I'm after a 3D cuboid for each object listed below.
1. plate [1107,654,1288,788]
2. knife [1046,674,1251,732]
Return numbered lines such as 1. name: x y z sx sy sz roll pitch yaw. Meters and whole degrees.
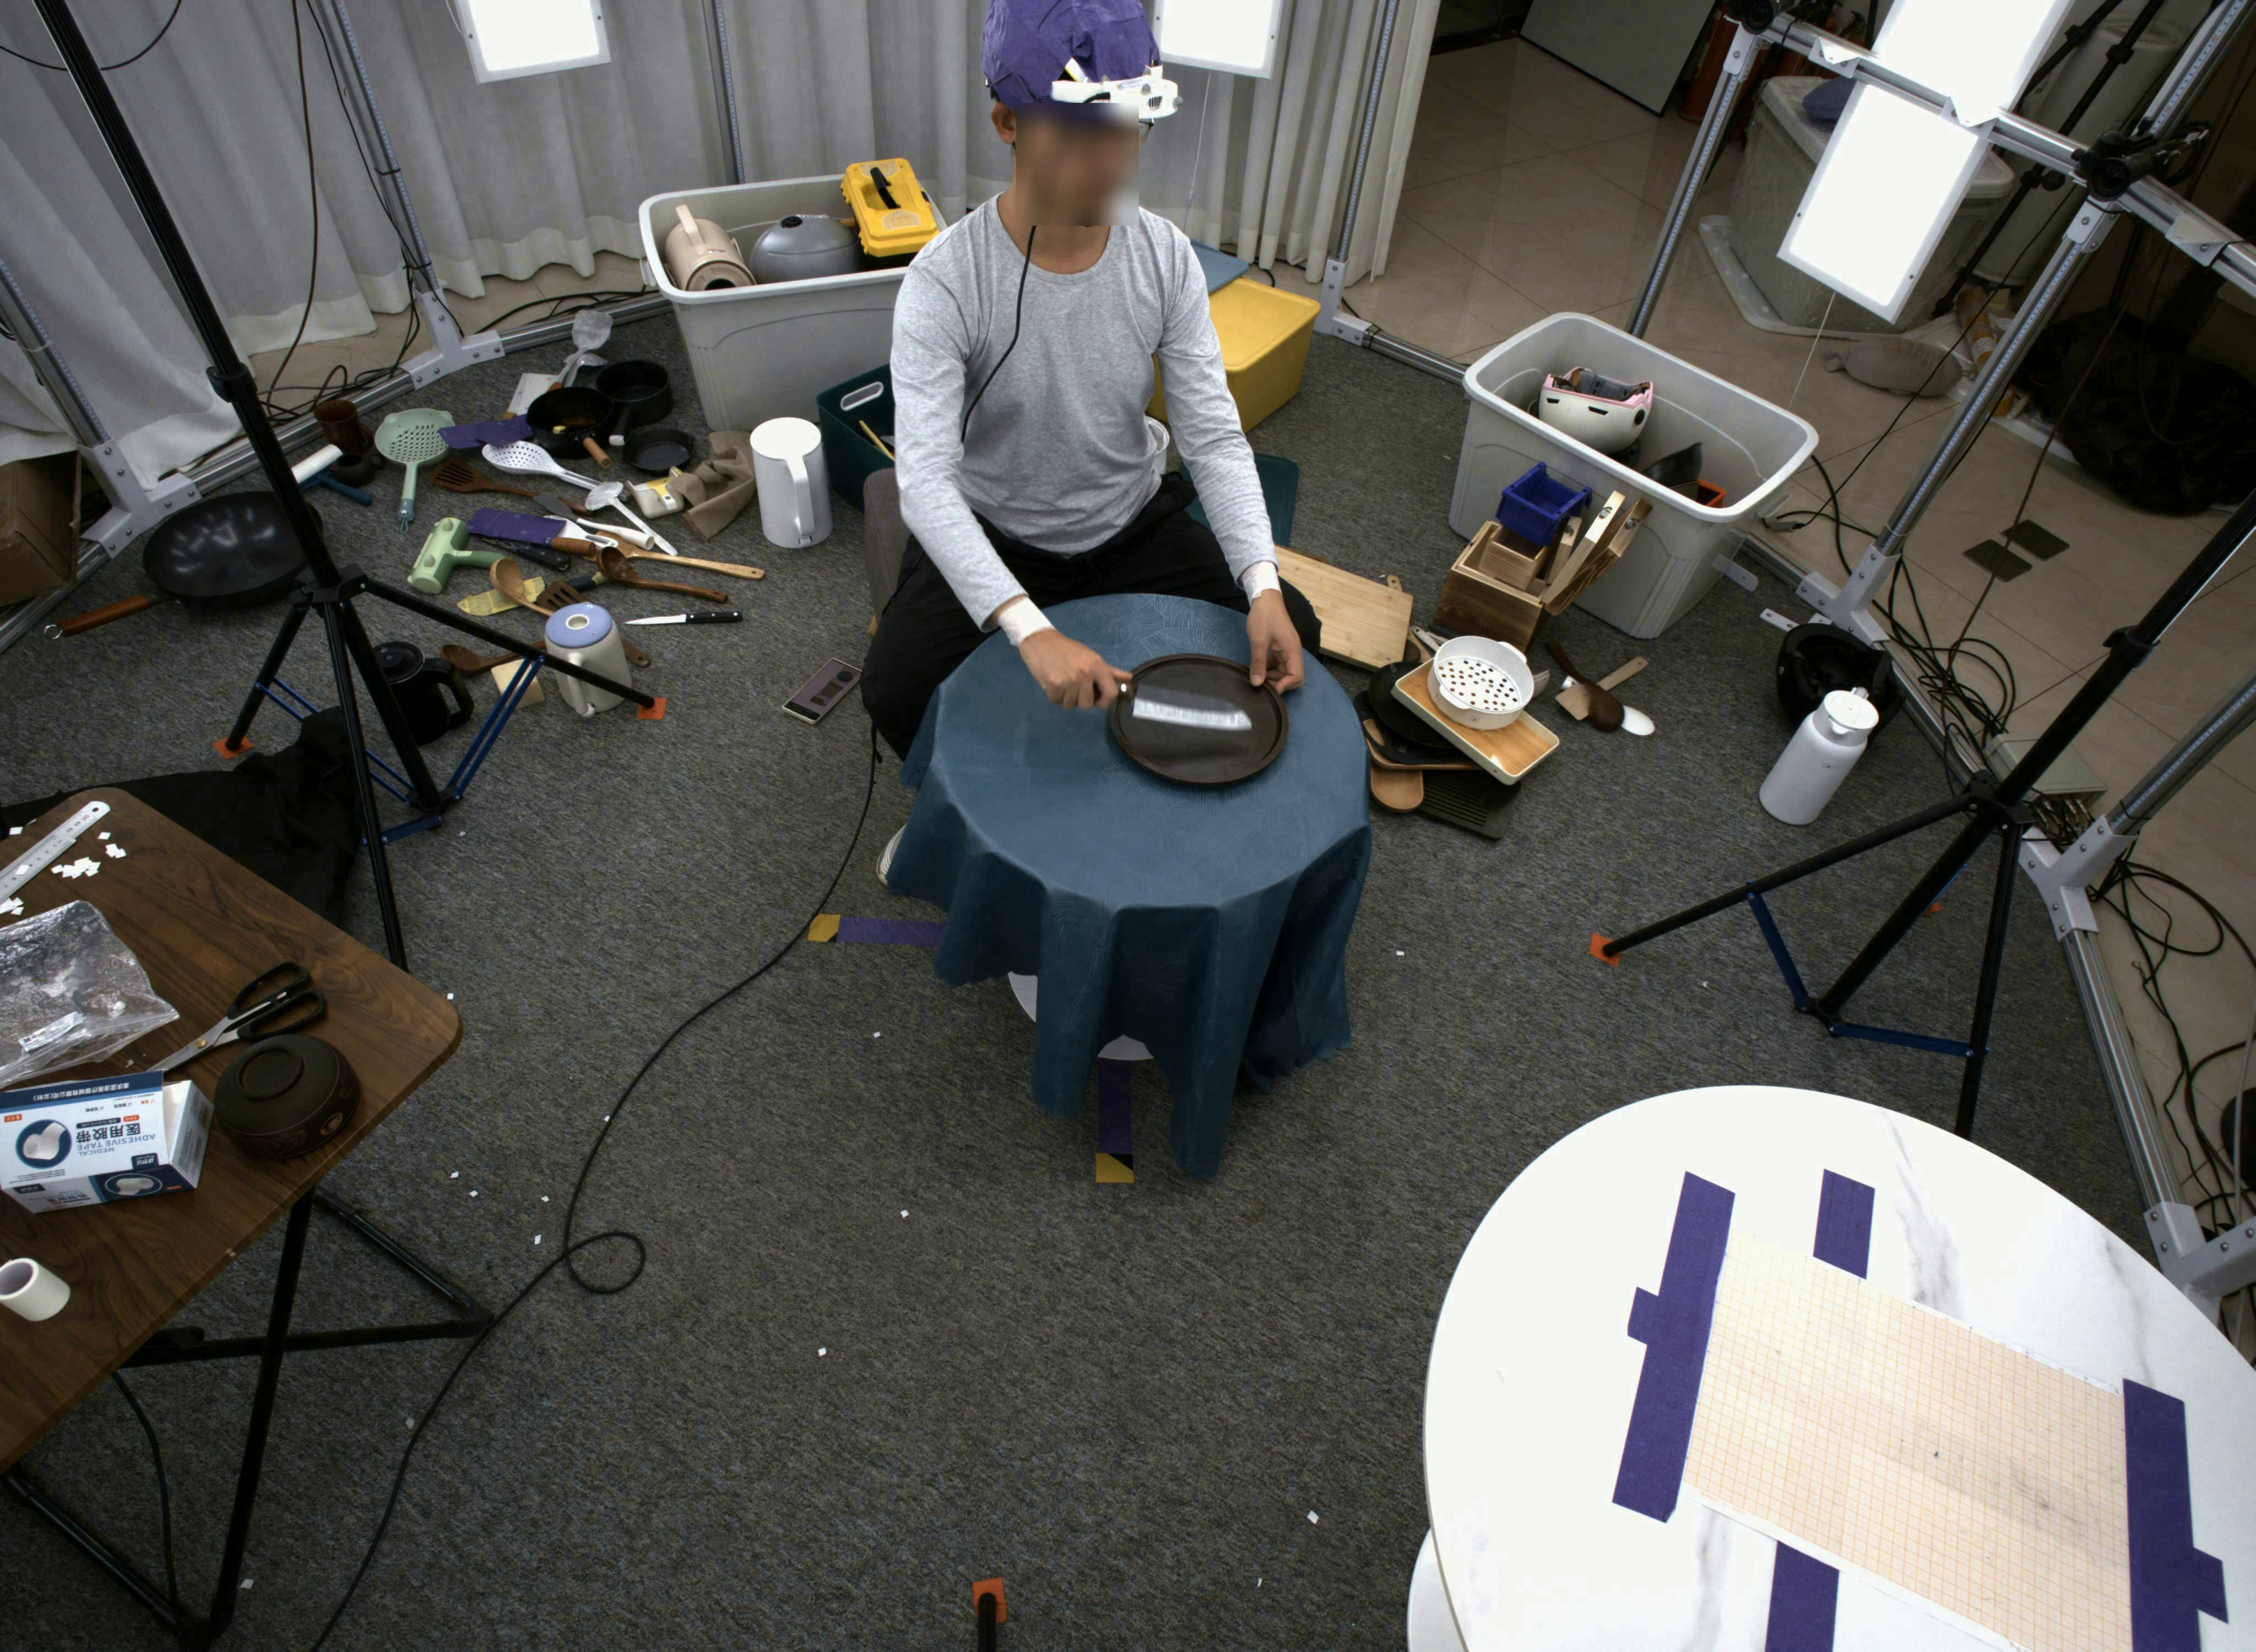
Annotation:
1. plate: 0.097 -0.149 1.787 0.254 0.028 0.261 1 49 -1
2. knife: 0.030 -0.164 1.722 0.288 0.020 0.051 12 77 -10
